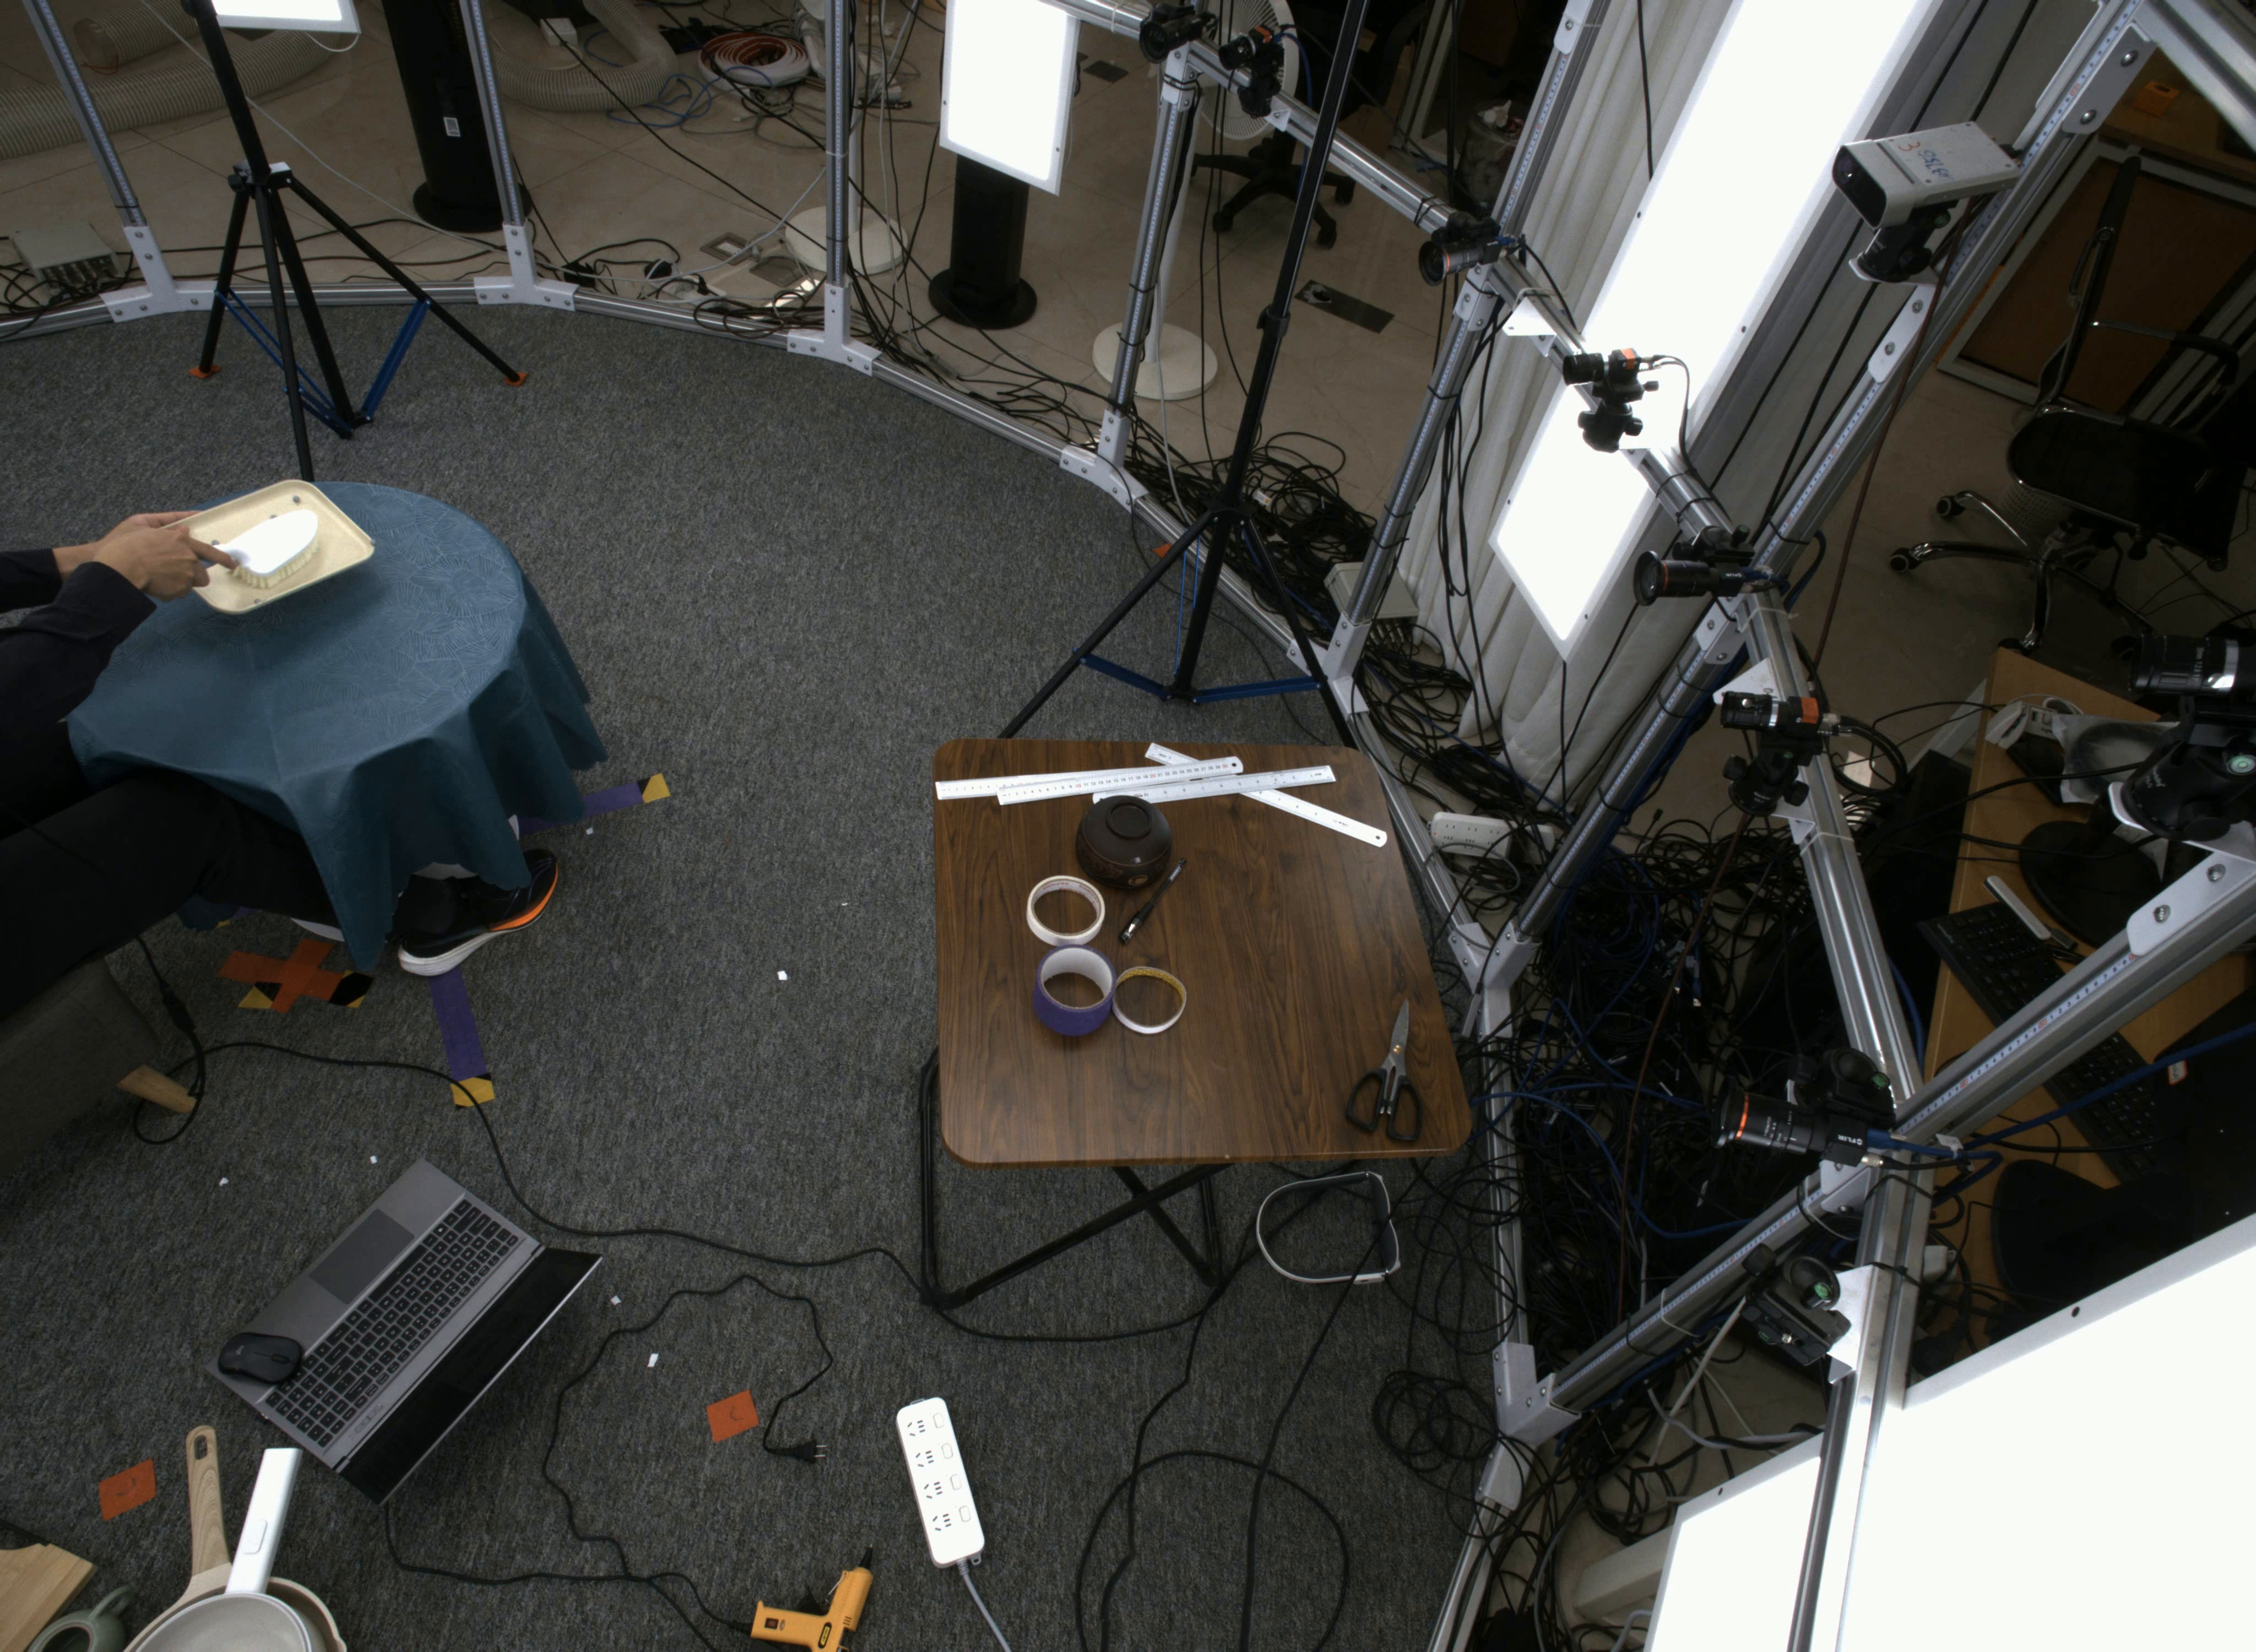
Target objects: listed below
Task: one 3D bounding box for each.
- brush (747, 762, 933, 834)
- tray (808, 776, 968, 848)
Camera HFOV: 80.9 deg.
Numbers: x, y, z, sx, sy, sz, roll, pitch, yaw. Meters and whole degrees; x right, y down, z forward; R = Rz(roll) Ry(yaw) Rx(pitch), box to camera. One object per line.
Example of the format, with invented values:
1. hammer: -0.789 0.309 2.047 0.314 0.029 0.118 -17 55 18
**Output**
1. brush: -0.443 -0.036 1.977 0.080 0.085 0.333 0 -5 44
2. tray: -0.382 -0.022 2.067 0.243 0.018 0.165 3 36 -29
